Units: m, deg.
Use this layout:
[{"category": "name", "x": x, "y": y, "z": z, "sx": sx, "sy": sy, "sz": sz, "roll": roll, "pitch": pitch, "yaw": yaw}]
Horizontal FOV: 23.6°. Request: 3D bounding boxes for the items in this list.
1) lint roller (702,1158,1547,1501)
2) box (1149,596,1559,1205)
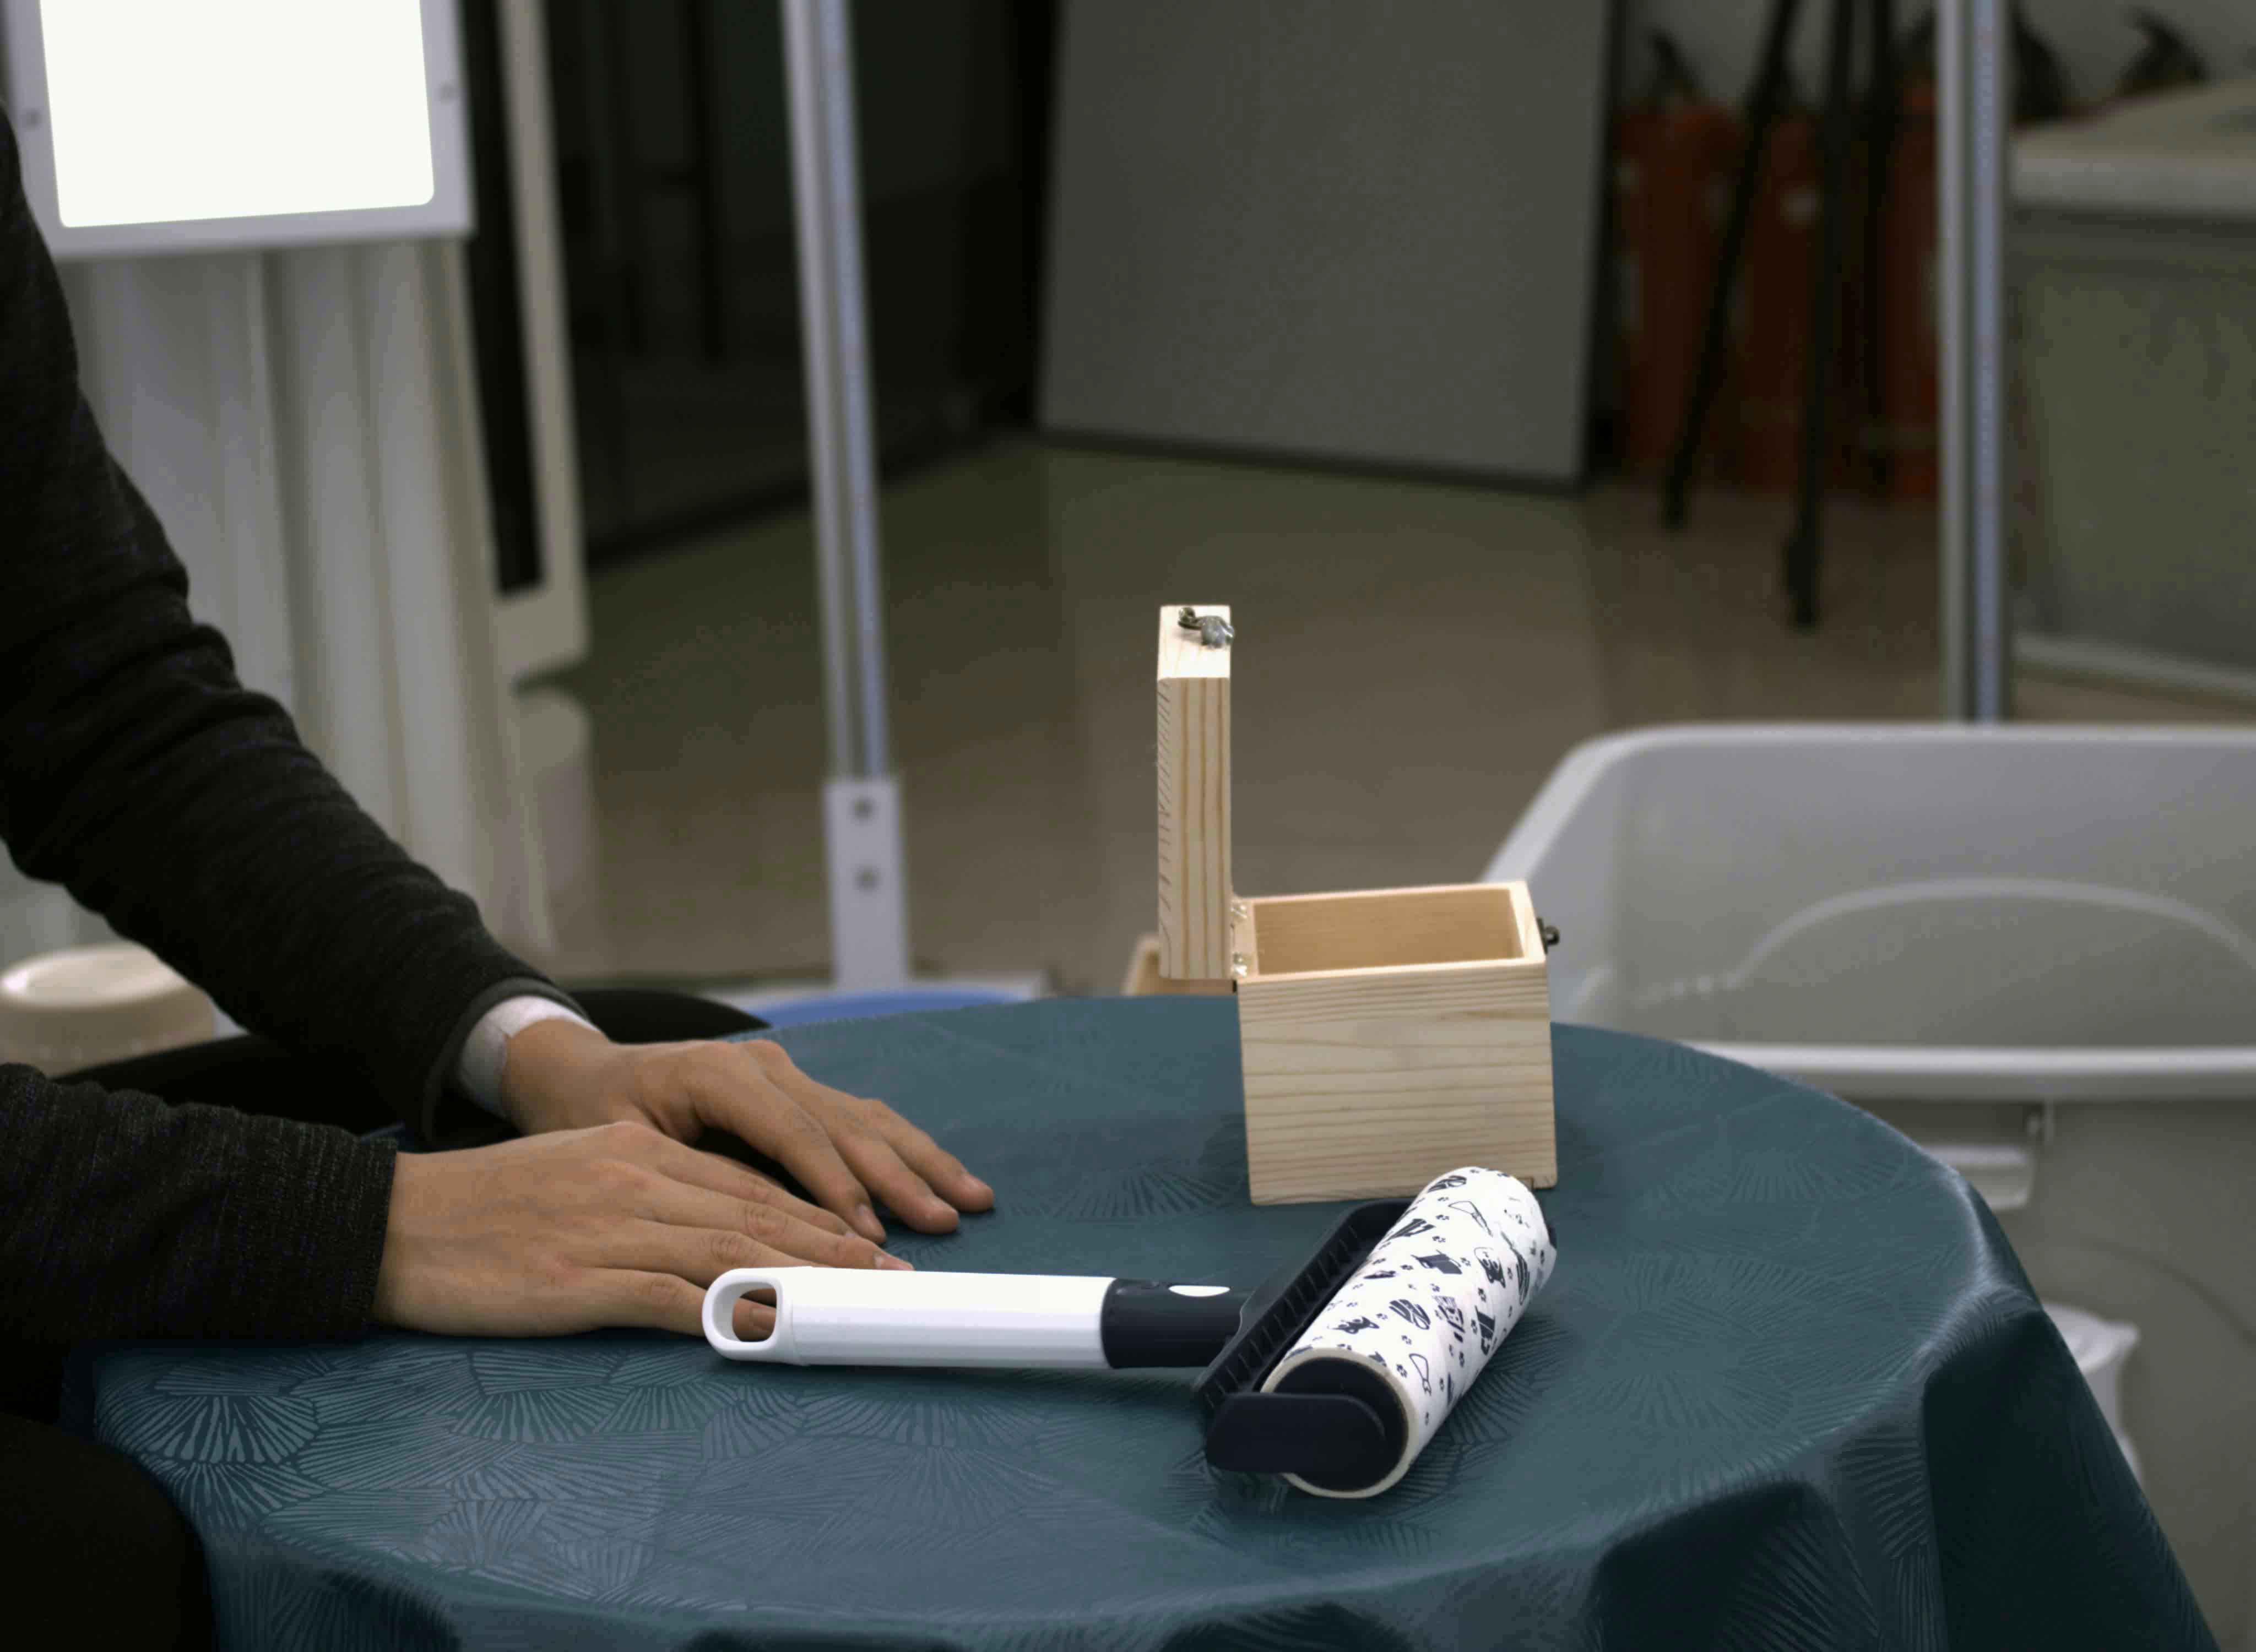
[{"category": "lint roller", "x": -0.013, "y": 0.145, "z": 1.589, "sx": 0.246, "sy": 0.051, "sz": 0.174, "roll": 0, "pitch": 15, "yaw": 20}, {"category": "box", "x": 0.075, "y": 0.019, "z": 1.772, "sx": 0.132, "sy": 0.186, "sz": 0.102, "roll": -4, "pitch": 13, "yaw": 2}]
